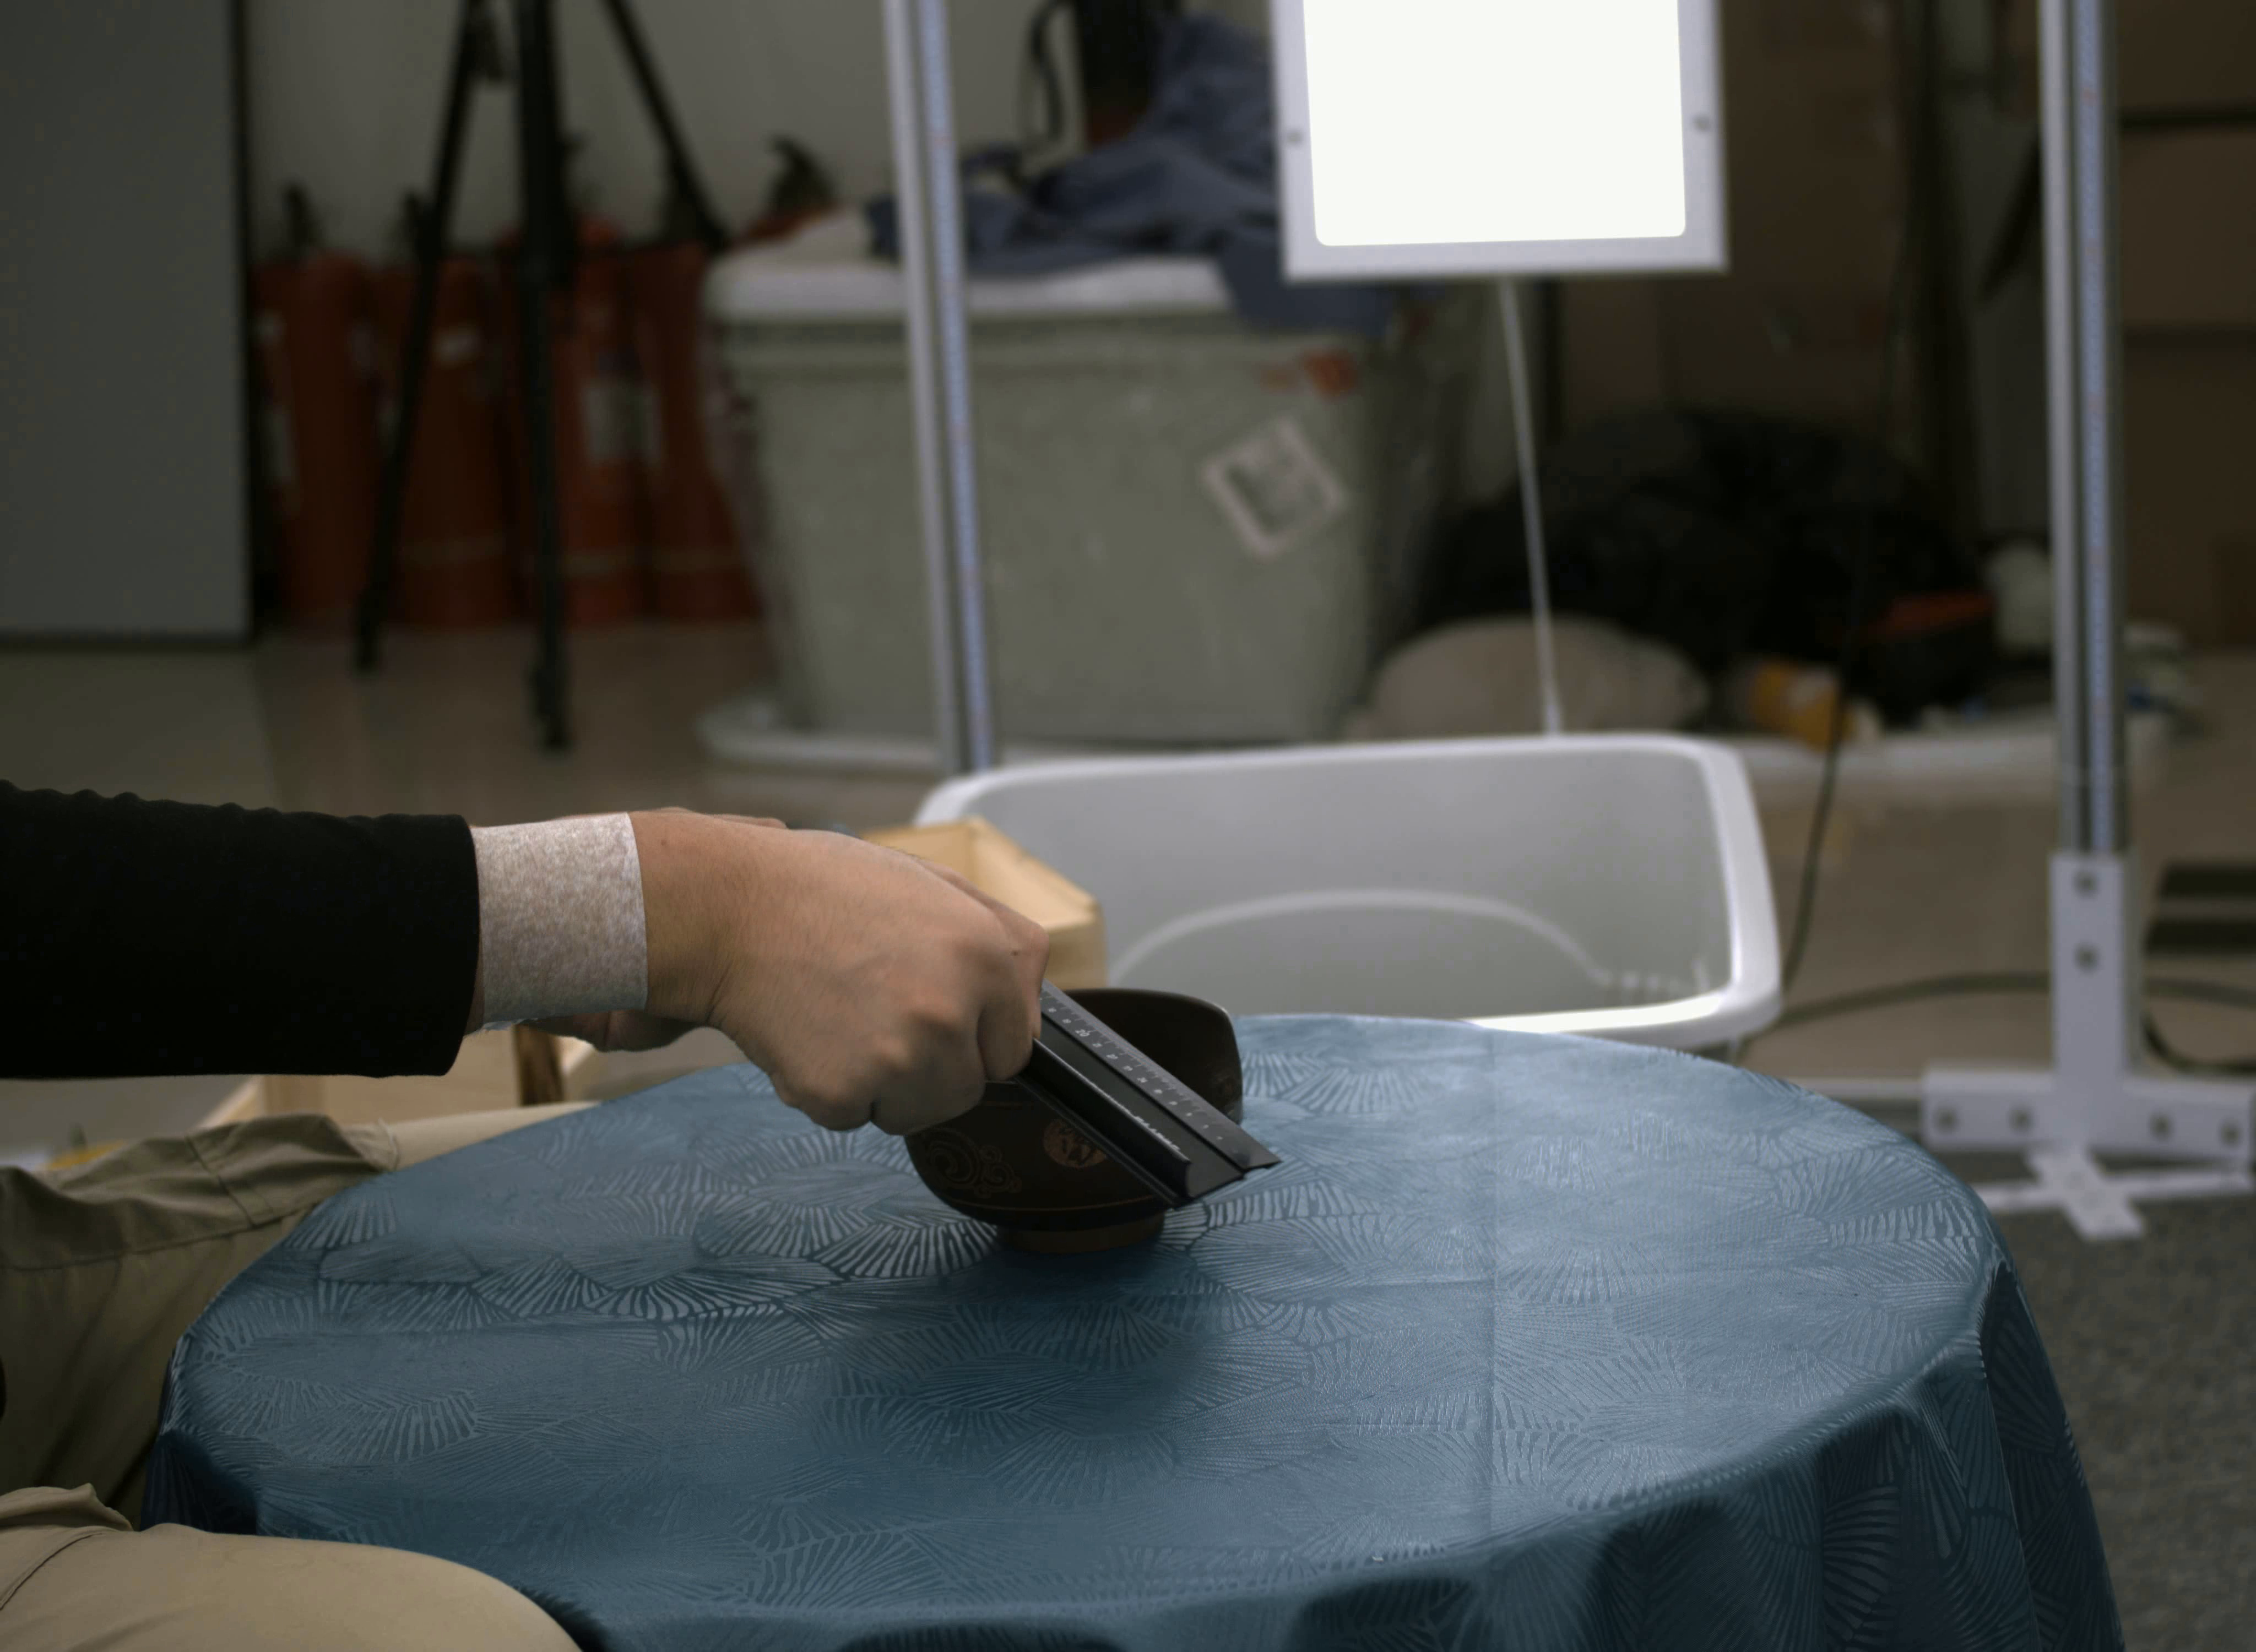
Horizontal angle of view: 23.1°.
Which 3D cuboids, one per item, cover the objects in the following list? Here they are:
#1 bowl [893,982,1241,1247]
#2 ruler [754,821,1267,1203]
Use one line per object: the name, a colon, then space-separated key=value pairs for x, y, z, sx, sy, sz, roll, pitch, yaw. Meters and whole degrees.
bowl: x=-0.019 y=0.101 z=1.856 sx=0.118 sy=0.070 sz=0.118 roll=-4 pitch=13 yaw=0
ruler: x=-0.044 y=0.050 z=1.782 sx=0.038 sy=0.017 sz=0.317 roll=-20 pitch=27 yaw=-21
